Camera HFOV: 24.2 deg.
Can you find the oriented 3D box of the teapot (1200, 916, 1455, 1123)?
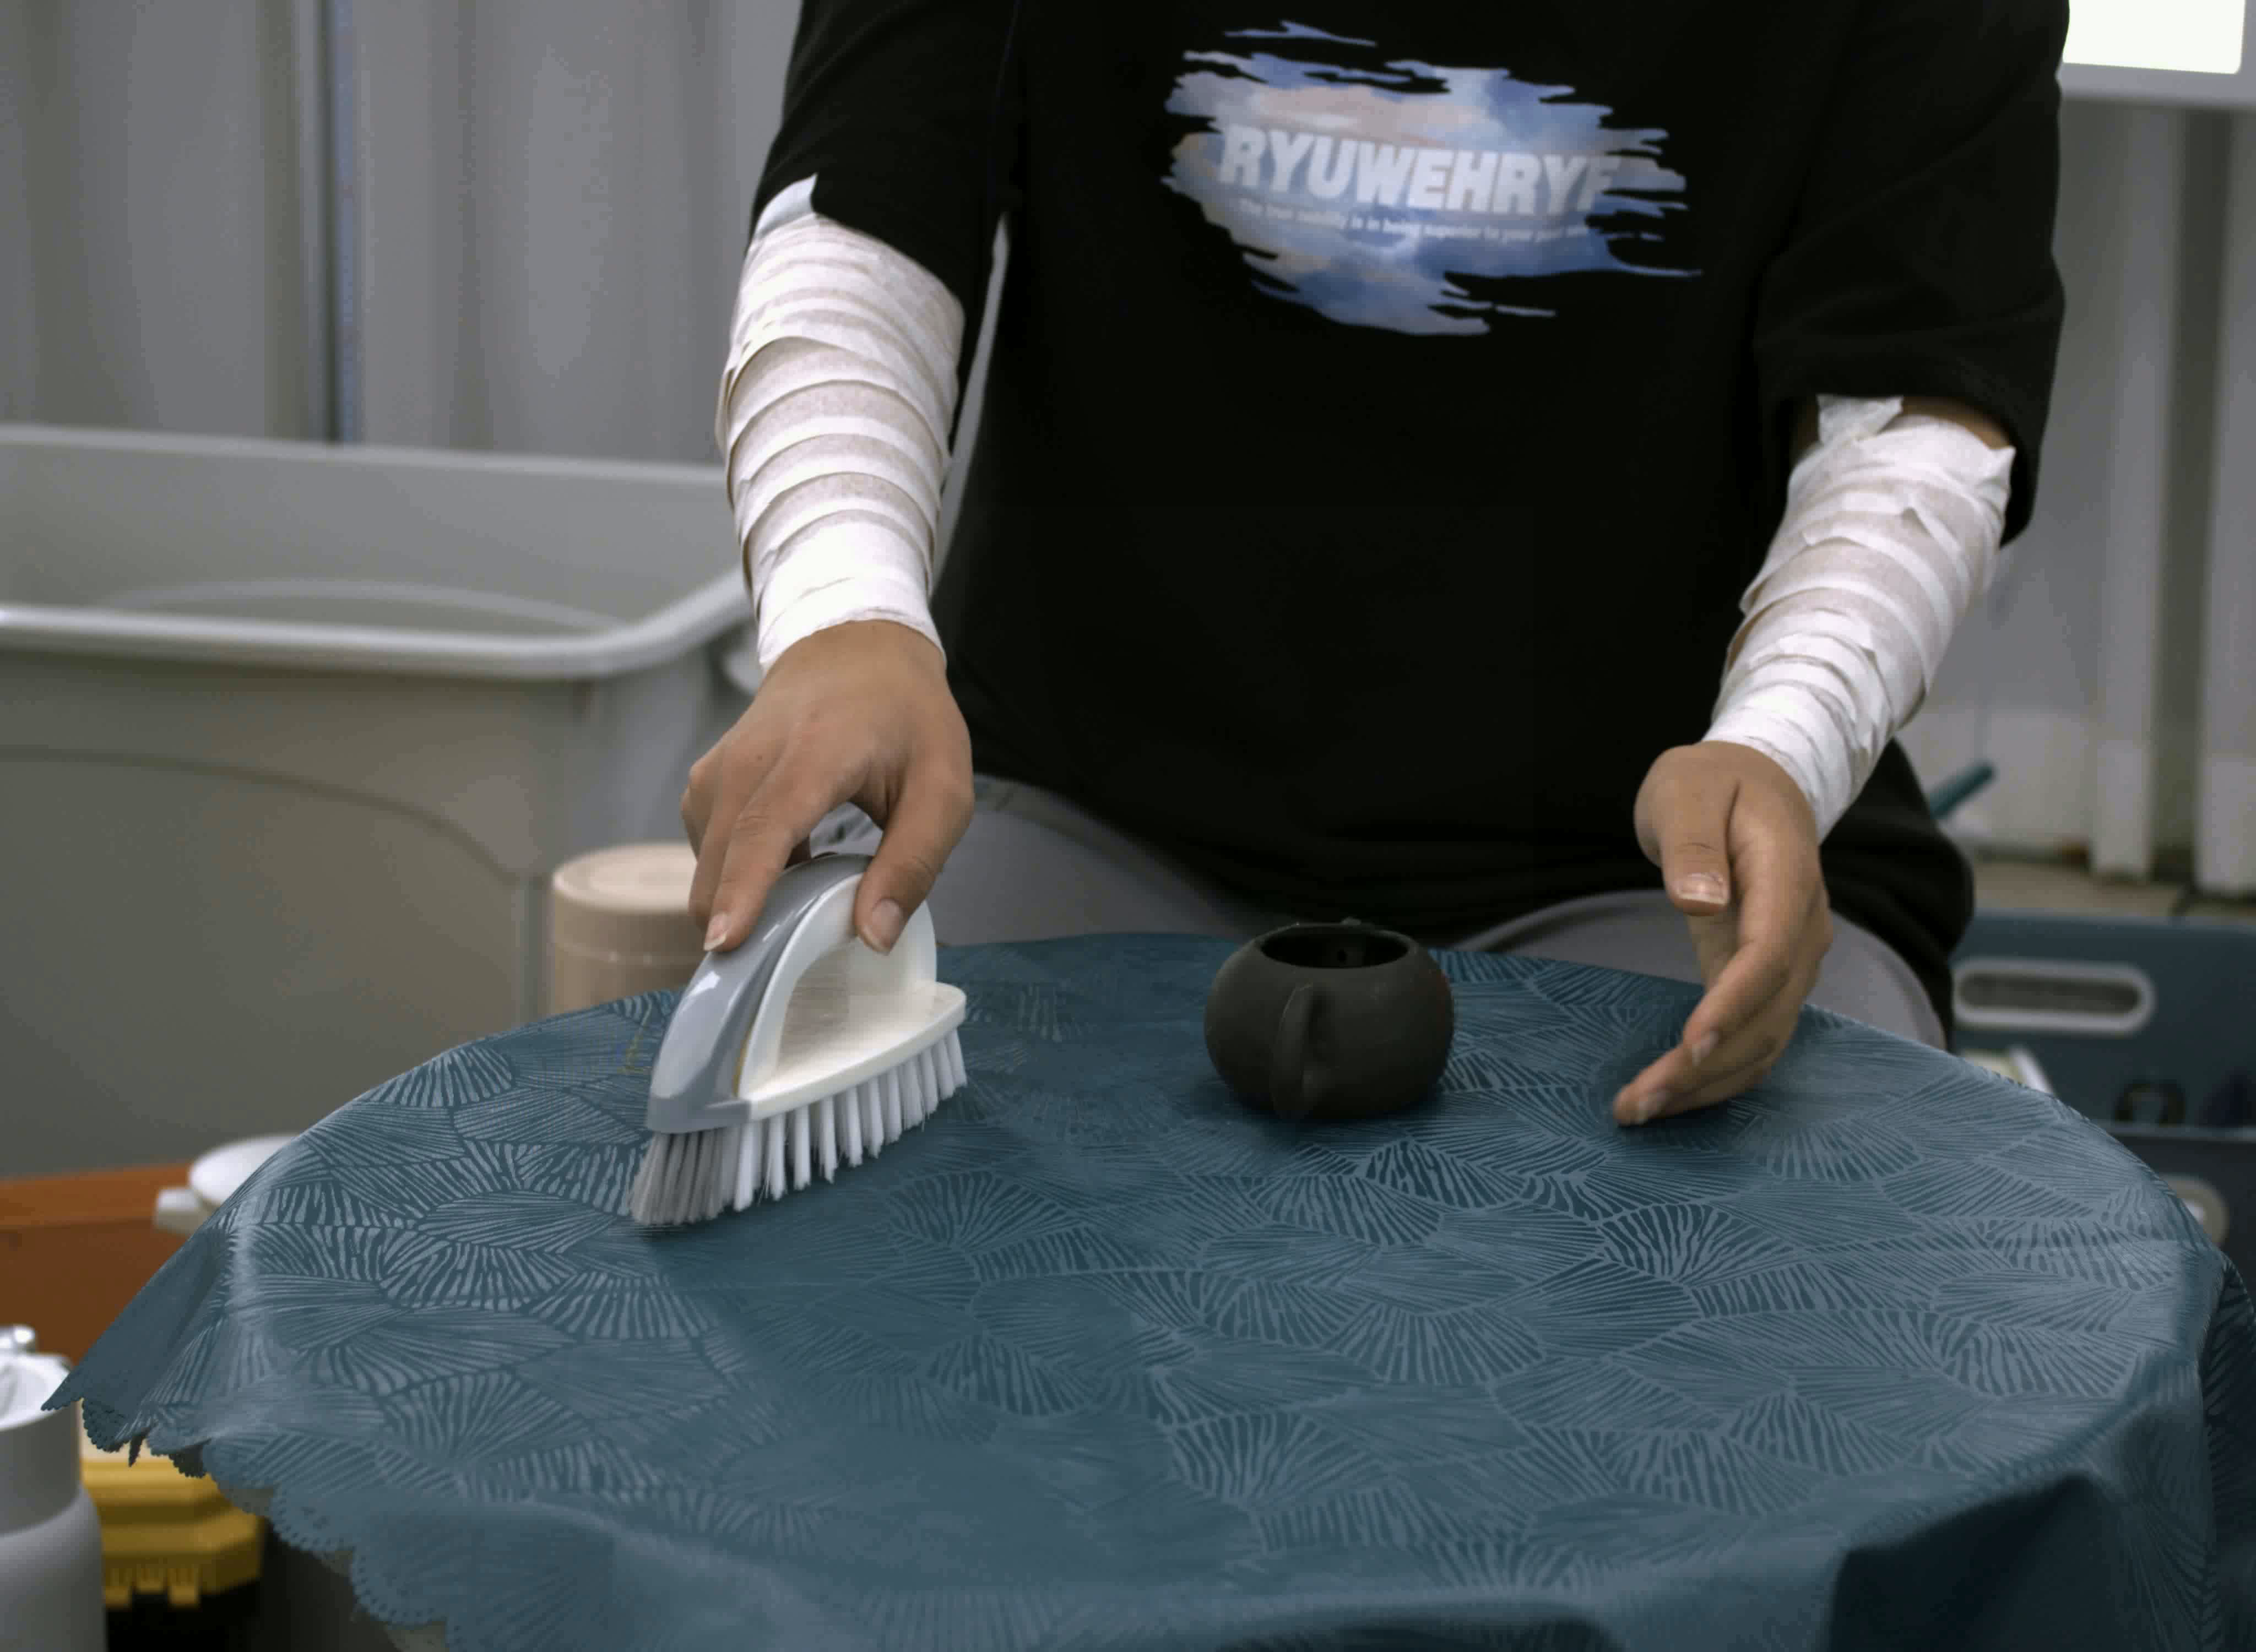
[{"bbox_3d":[0.062,0.065,1.702,0.082,0.053,0.114,5,14,13],"label":"teapot"}]

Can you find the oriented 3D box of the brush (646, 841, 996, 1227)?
[{"bbox_3d":[-0.103,0.060,1.637,0.061,0.095,0.176,5,17,26],"label":"brush"}]
